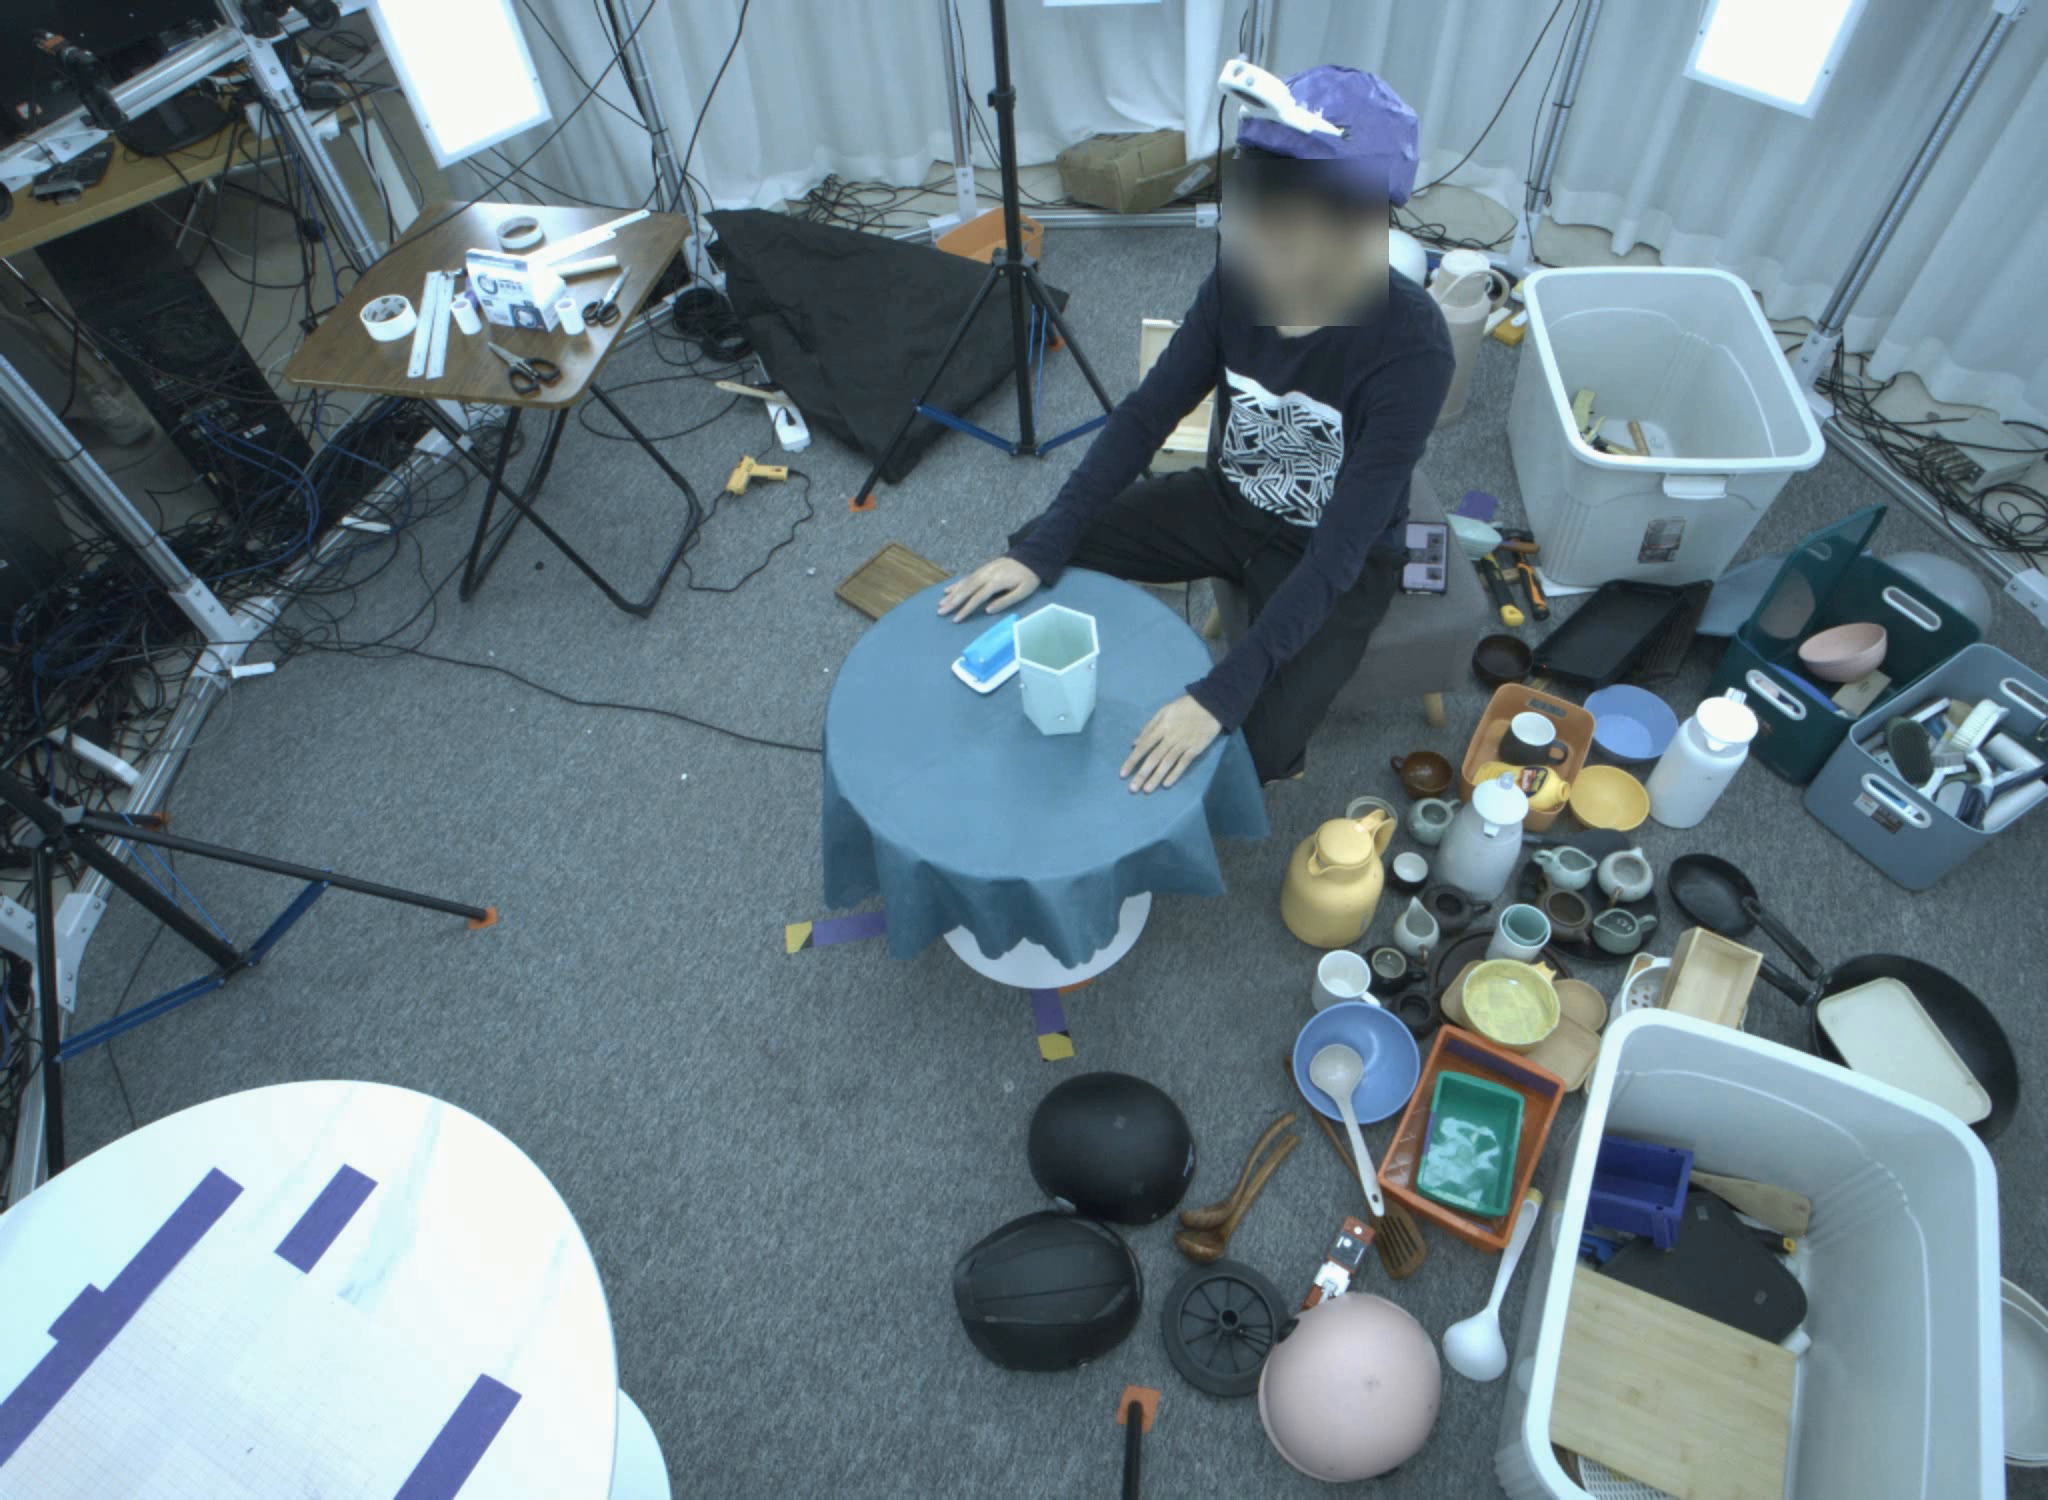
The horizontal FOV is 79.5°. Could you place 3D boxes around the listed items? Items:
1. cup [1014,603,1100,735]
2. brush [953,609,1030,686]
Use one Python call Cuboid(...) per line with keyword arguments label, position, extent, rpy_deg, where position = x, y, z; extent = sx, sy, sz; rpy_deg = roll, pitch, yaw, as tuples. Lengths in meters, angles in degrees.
Cuboid(label="cup", position=(0.049, -0.107, 1.754), extent=(0.129, 0.165, 0.115), rpy_deg=(19, 57, 16))
Cuboid(label="brush", position=(-0.036, -0.164, 1.860), extent=(0.145, 0.056, 0.082), rpy_deg=(-39, 64, -20))
